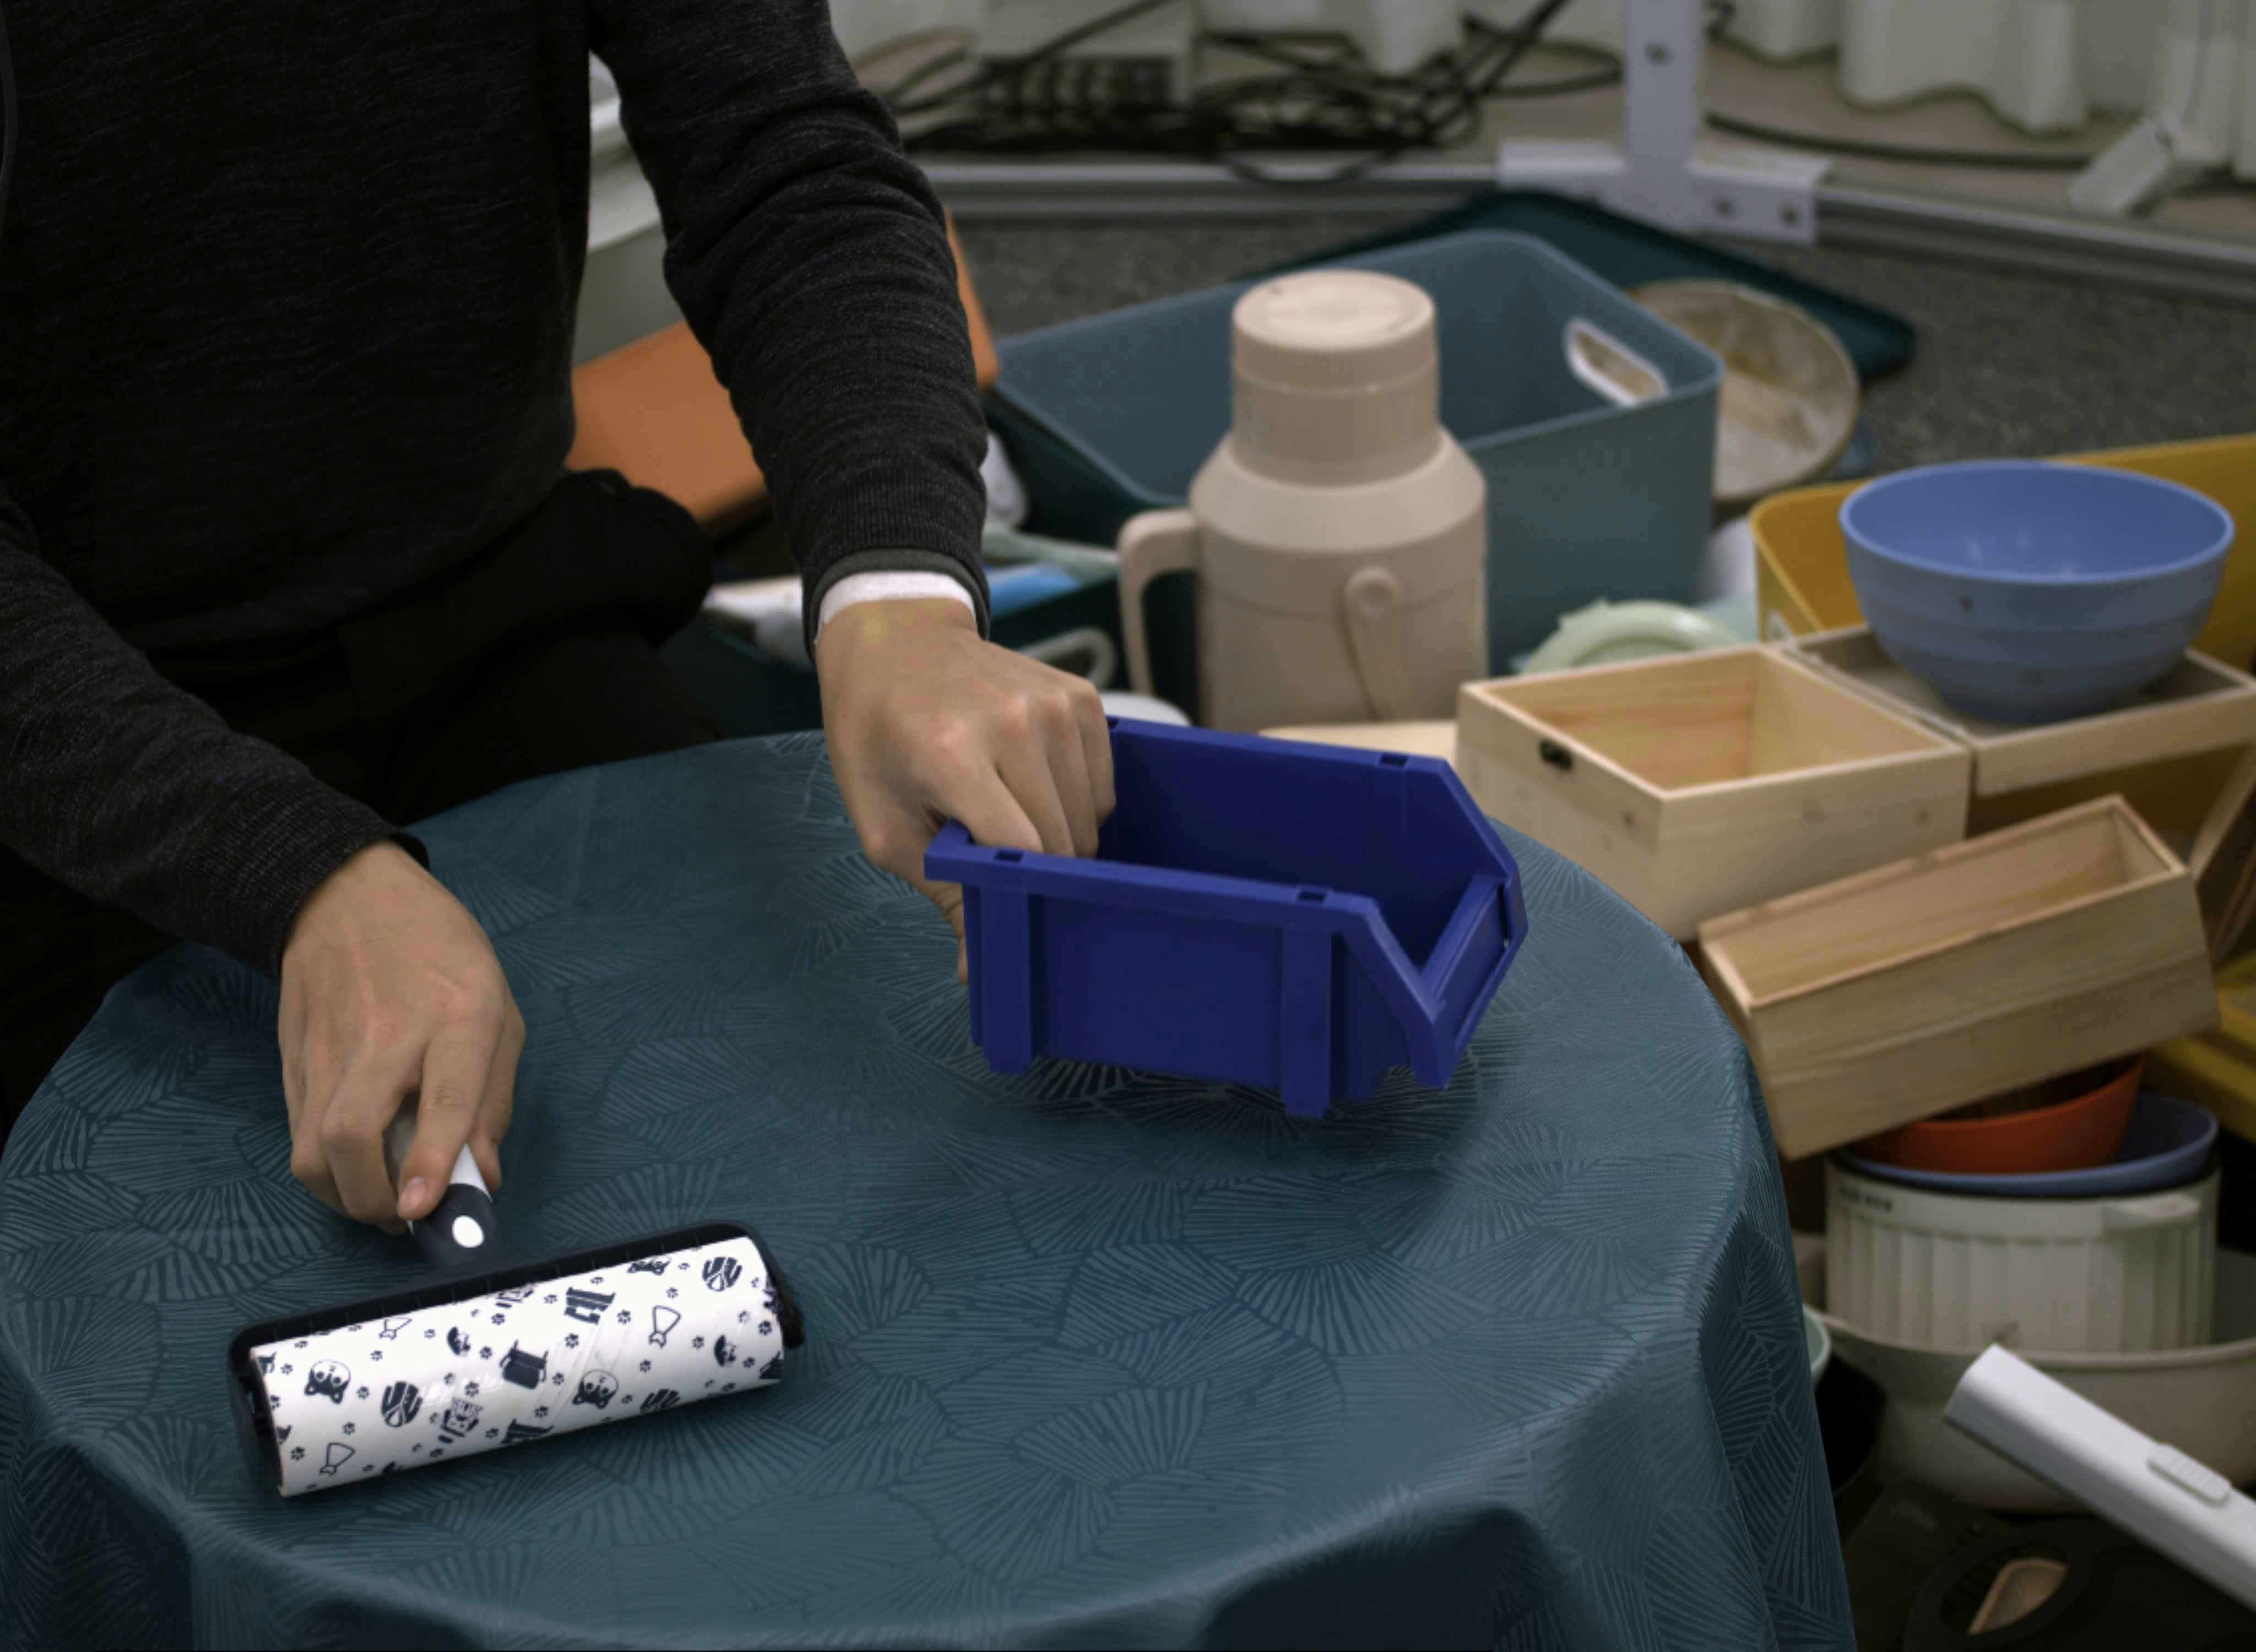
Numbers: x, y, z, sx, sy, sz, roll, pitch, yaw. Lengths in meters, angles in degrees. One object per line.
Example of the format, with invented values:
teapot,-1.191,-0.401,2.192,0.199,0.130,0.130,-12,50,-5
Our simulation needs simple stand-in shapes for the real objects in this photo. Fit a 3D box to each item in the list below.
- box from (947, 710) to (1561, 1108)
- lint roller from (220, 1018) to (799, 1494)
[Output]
box,0.045,0.027,1.900,0.178,0.081,0.126,5,25,17
lint roller,-0.224,0.122,1.825,0.176,0.050,0.249,-12,31,-16
